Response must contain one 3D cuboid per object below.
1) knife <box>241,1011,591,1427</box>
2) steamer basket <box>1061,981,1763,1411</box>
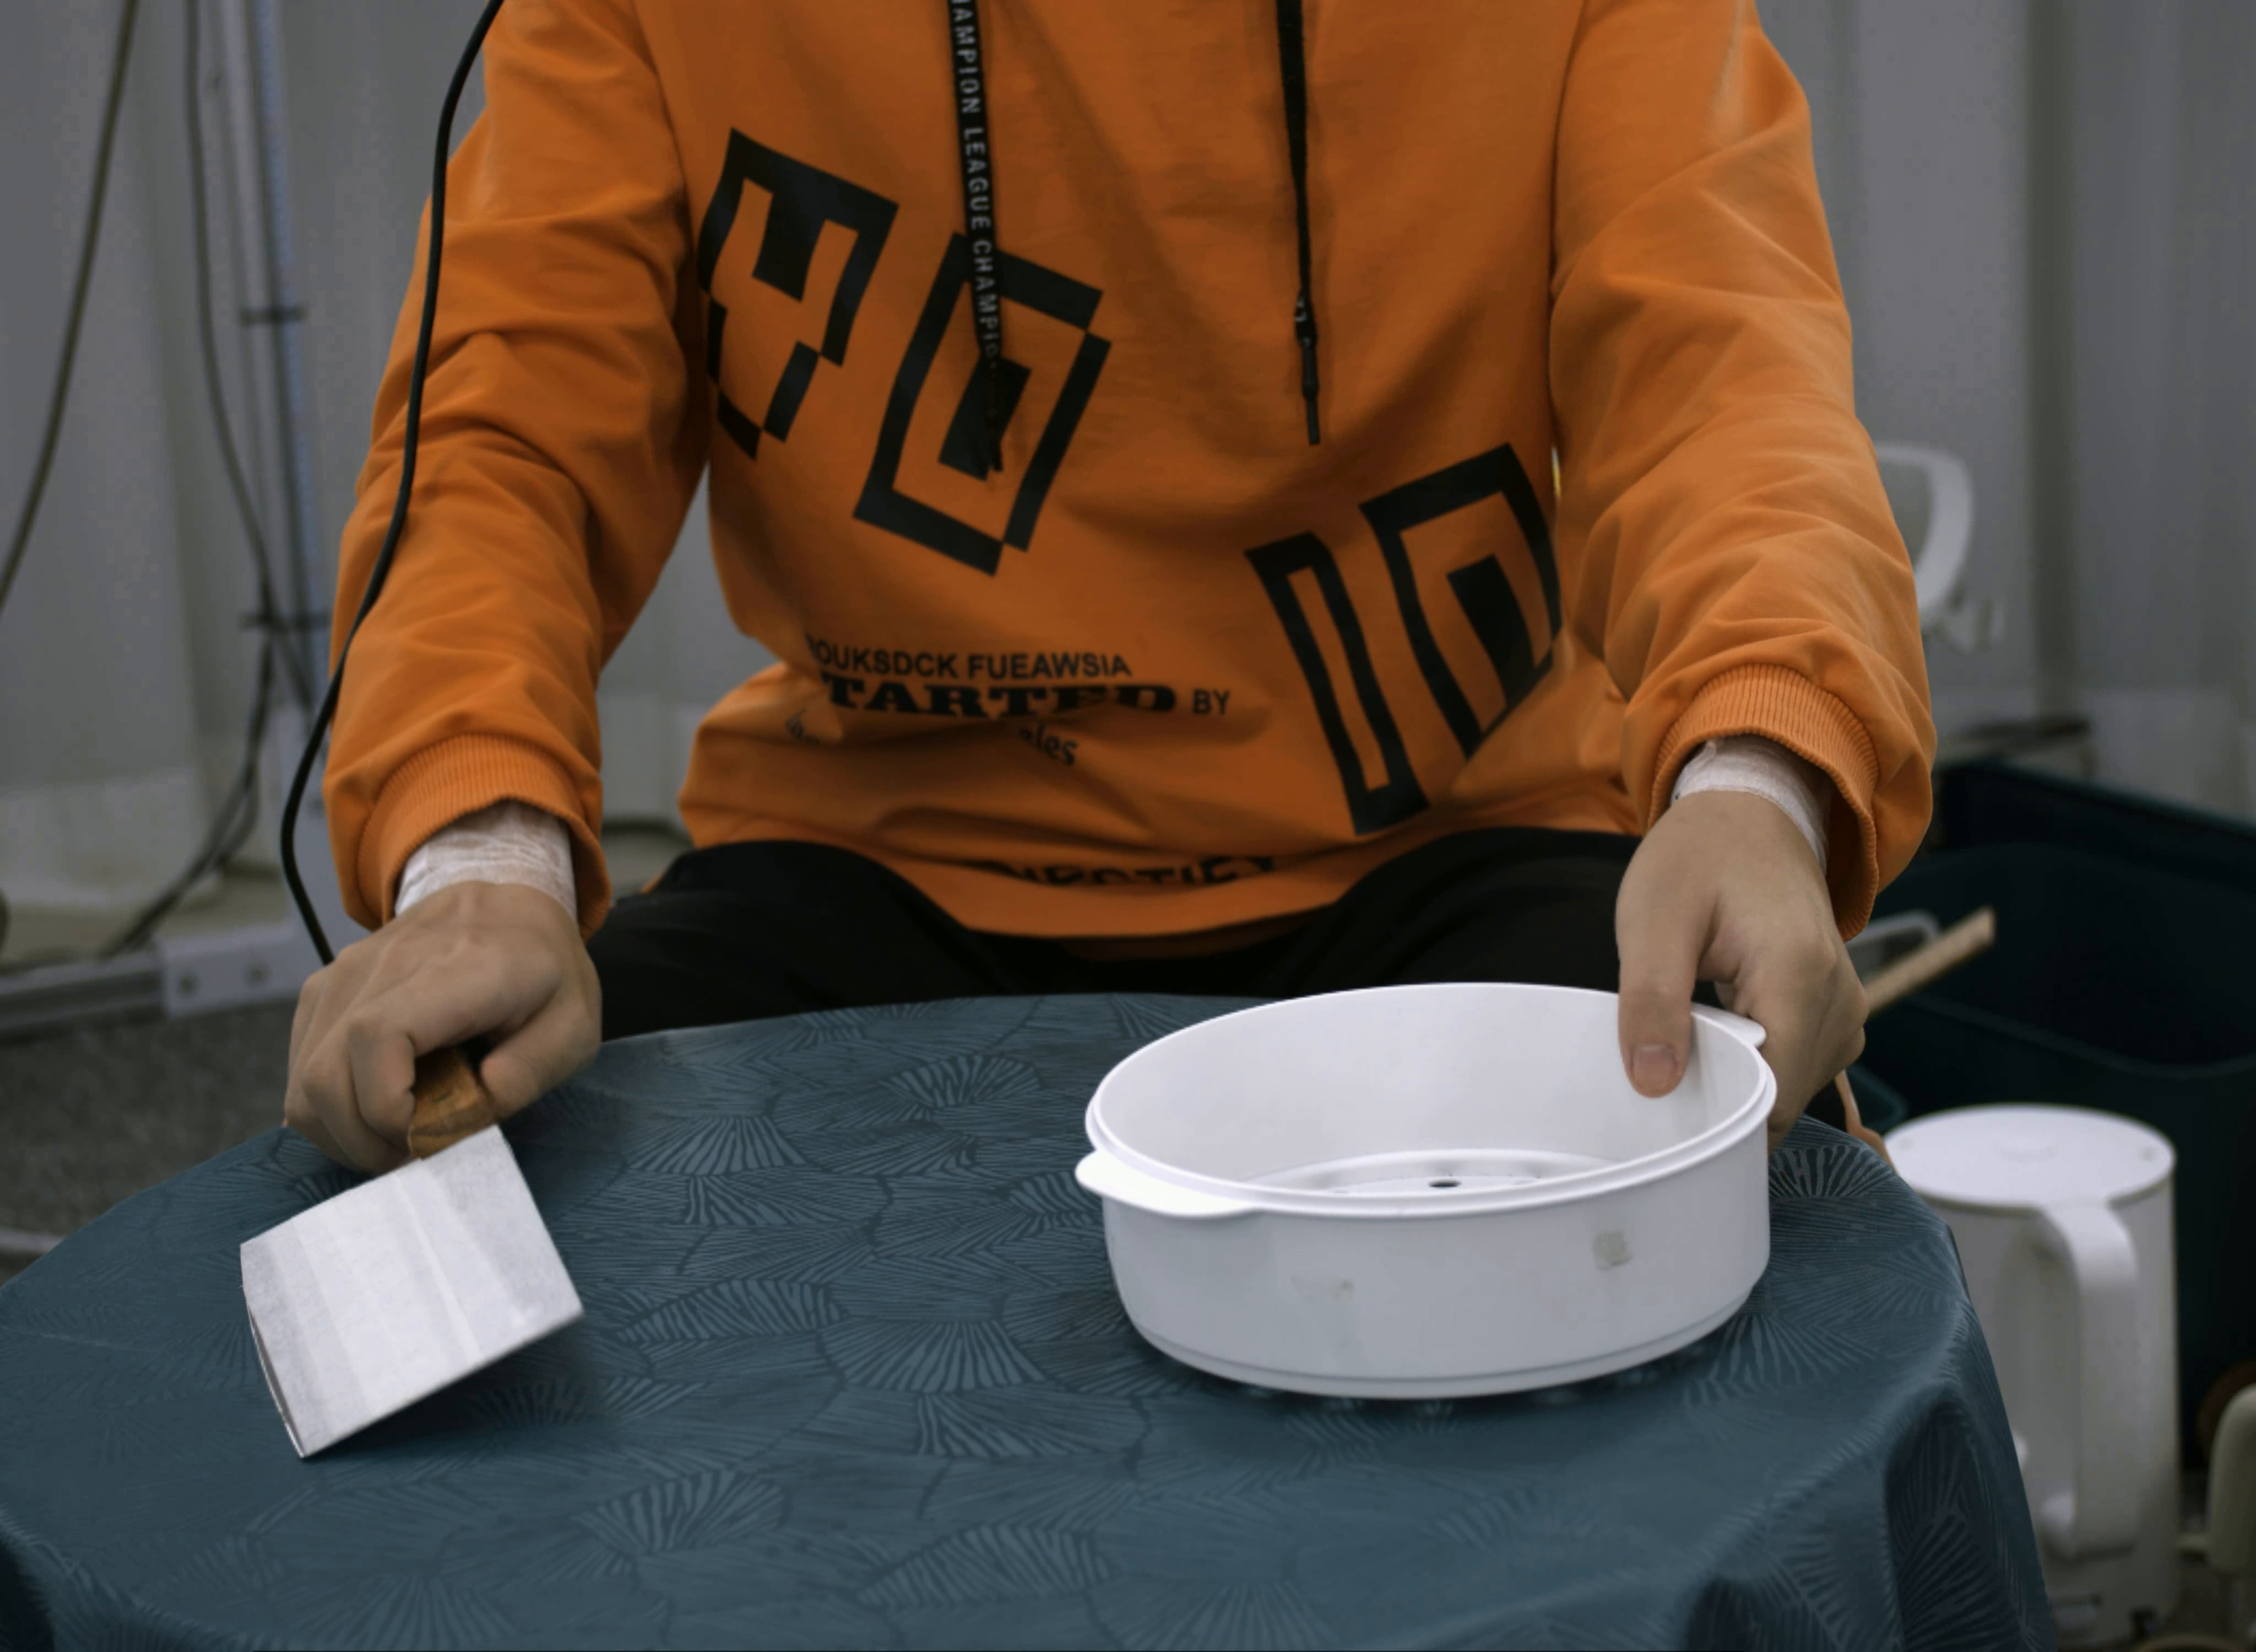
[{"bbox_3d":[-0.226,0.120,1.674,0.093,0.021,0.308,-26,19,-7],"label":"knife"},{"bbox_3d":[0.085,0.108,1.590,0.230,0.069,0.203,-17,19,-34],"label":"steamer basket"}]
